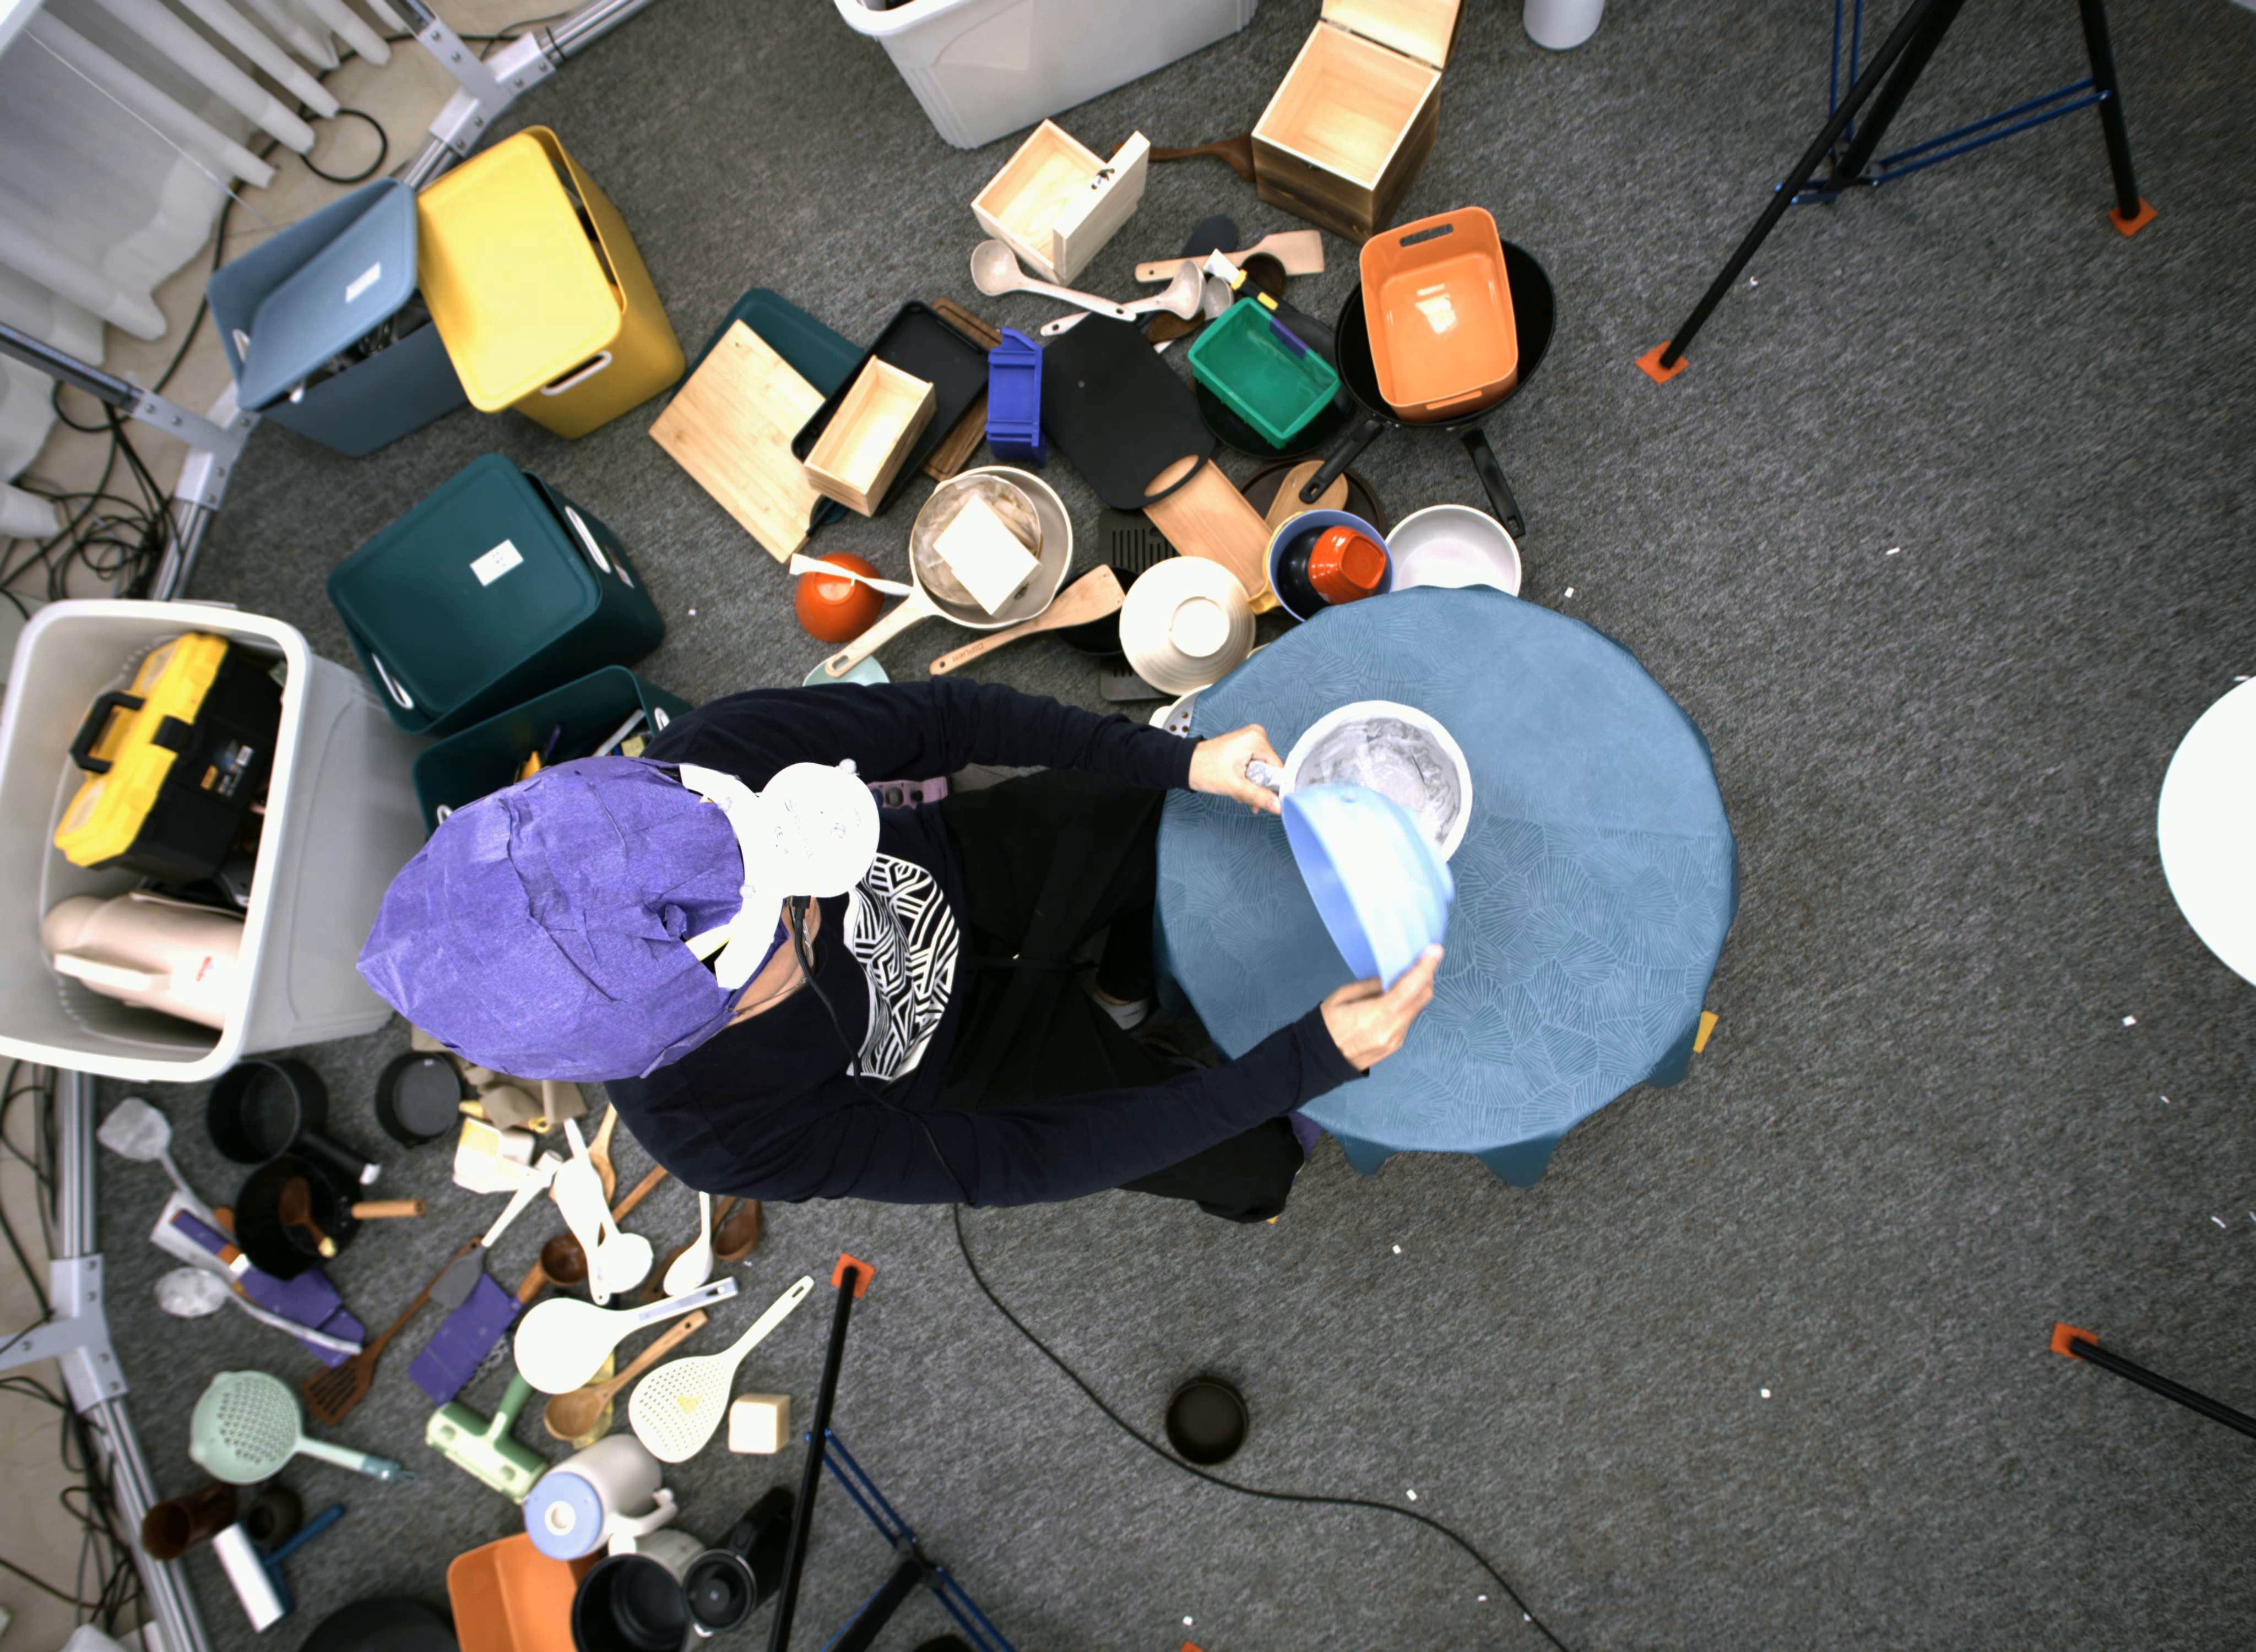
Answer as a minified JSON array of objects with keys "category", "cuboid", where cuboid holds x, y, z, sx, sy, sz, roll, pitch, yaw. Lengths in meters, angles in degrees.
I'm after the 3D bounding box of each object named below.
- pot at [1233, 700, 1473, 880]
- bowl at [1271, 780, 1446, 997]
[{"category":"pot","cuboid":[0.214,-0.030,1.344,0.234,0.136,0.178,10,89,11]},{"category":"bowl","cuboid":[0.210,0.039,1.190,0.095,0.198,0.195,-26,81,-4]}]
